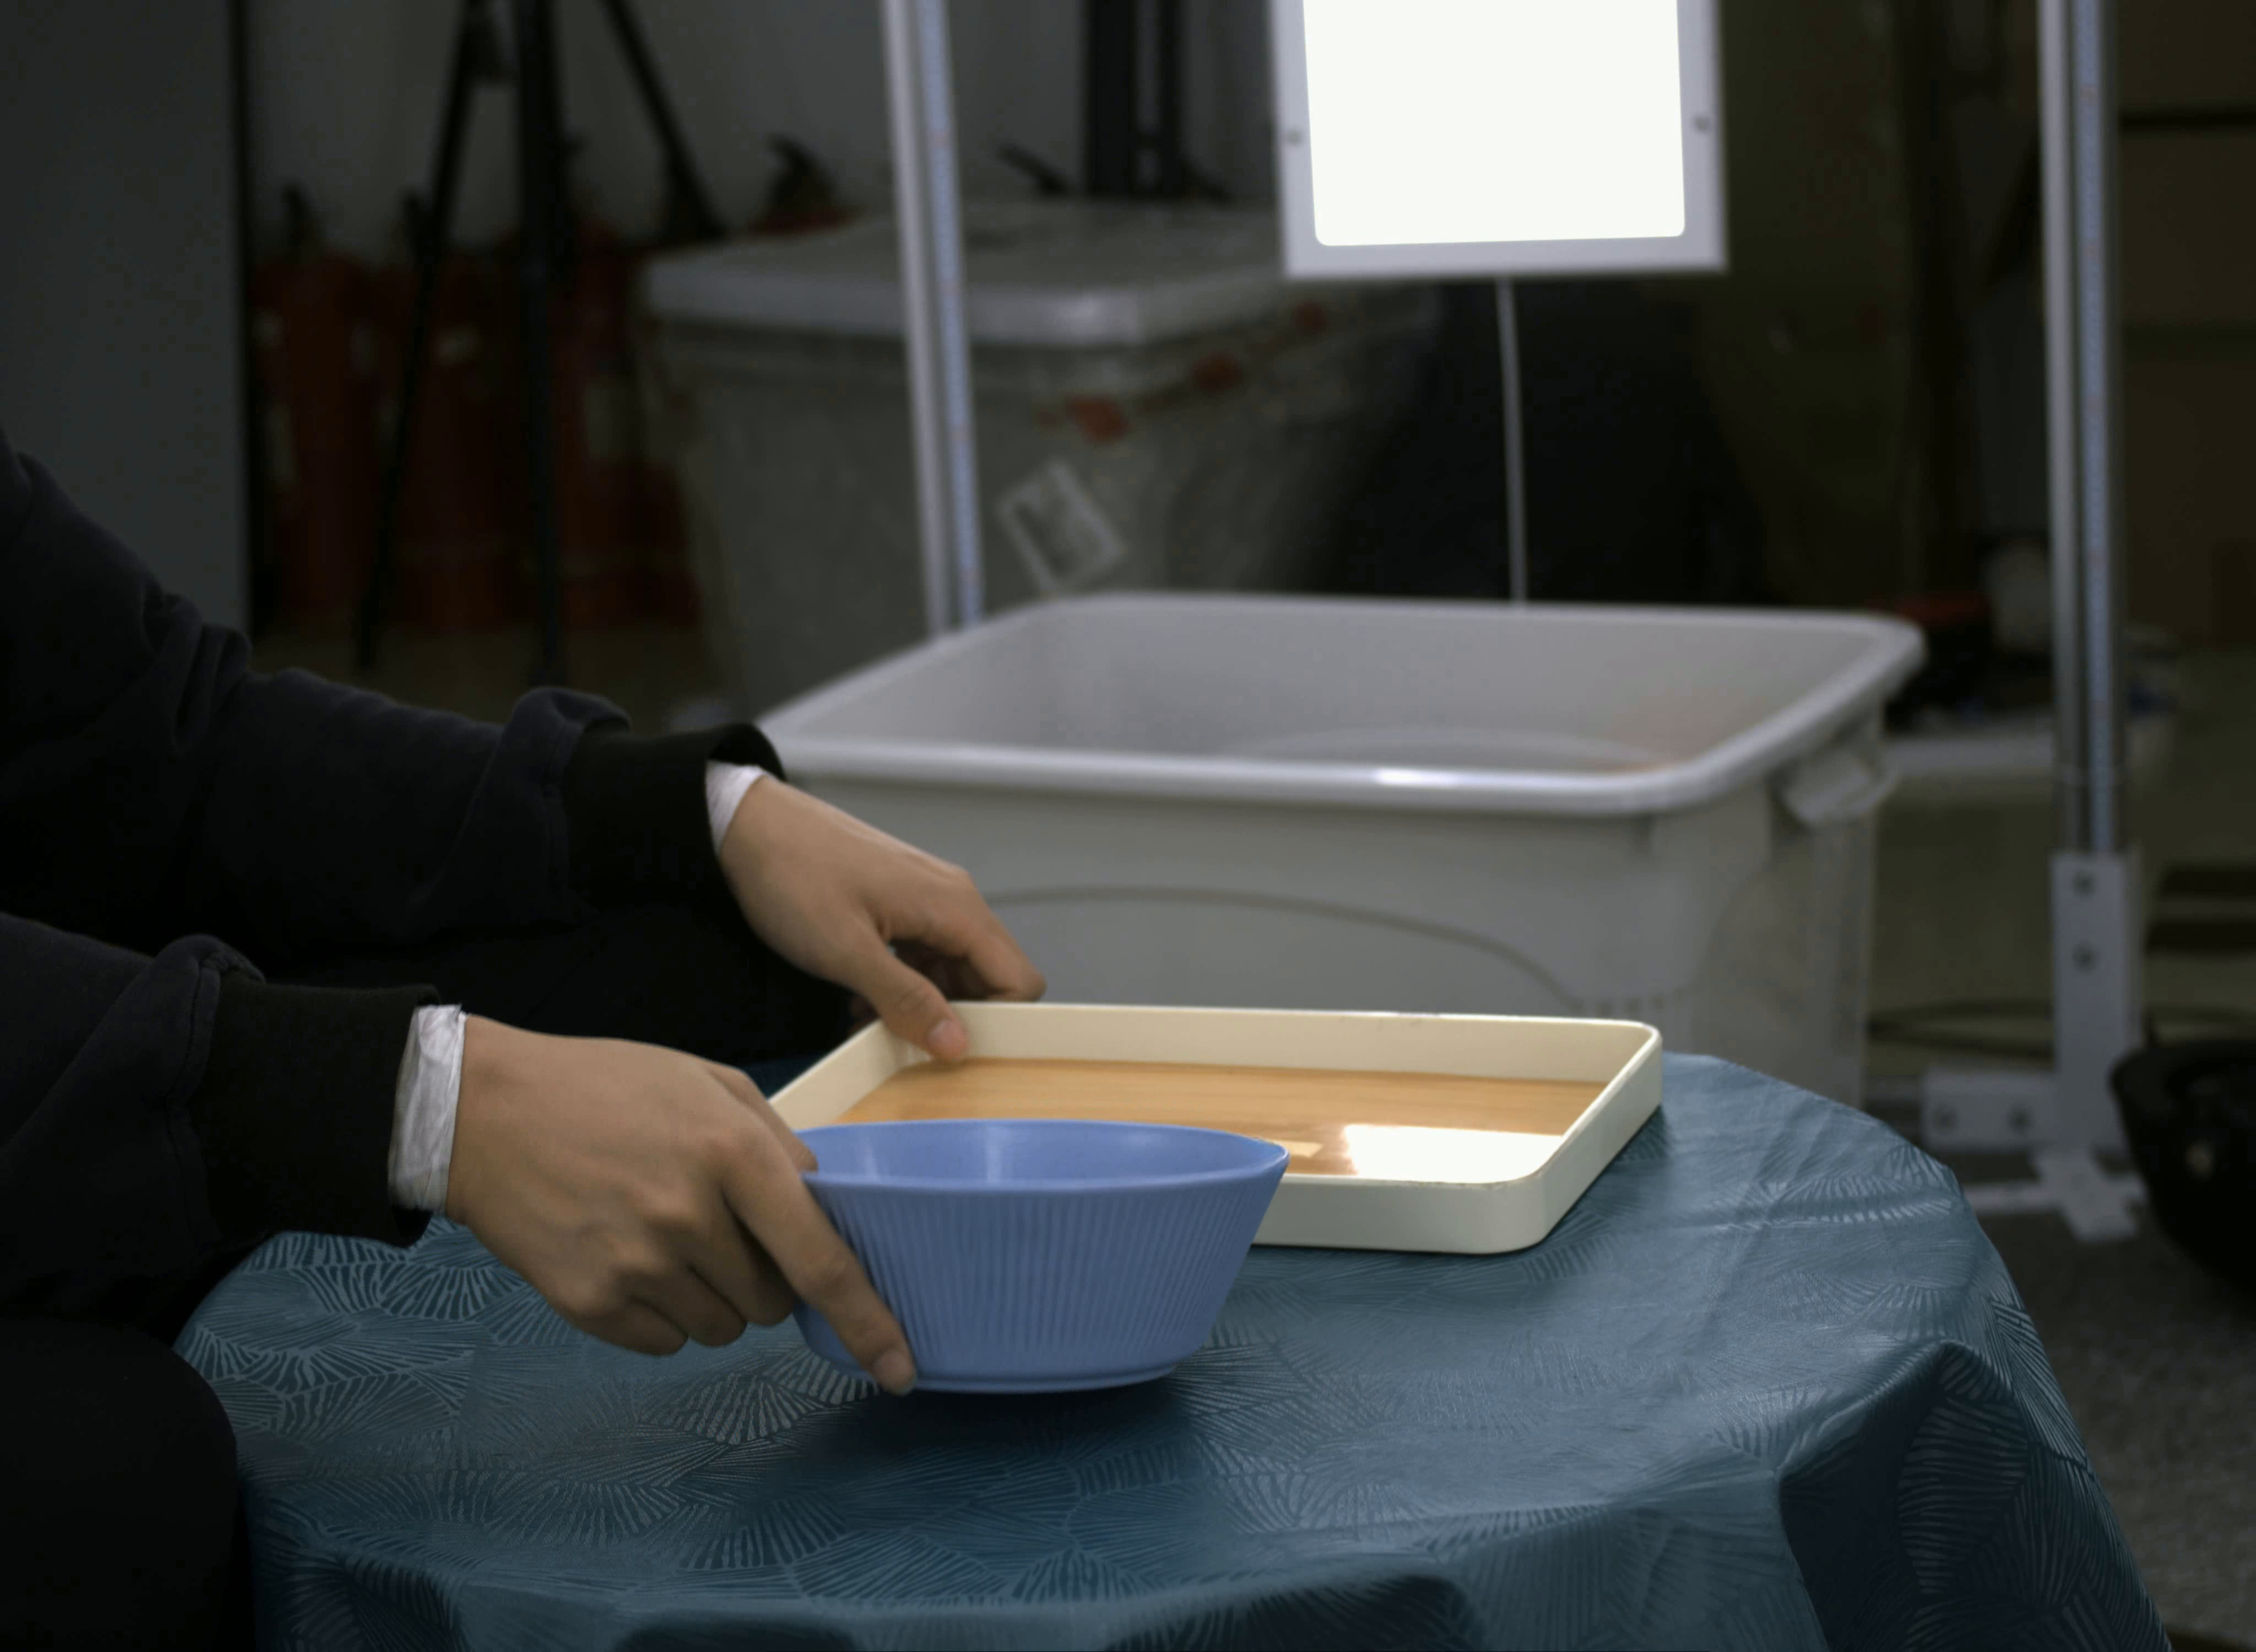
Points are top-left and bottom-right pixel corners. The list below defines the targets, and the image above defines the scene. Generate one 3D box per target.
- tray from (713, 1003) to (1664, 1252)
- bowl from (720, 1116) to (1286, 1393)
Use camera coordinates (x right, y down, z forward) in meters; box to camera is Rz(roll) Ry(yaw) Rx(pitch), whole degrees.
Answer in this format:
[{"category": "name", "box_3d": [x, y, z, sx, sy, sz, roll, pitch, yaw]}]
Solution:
[{"category": "tray", "box_3d": [0.024, 0.104, 1.928, 0.304, 0.027, 0.188, 1, 15, 22]}, {"category": "bowl", "box_3d": [-0.039, 0.132, 1.702, 0.175, 0.070, 0.176, 1, 5, -1]}]
